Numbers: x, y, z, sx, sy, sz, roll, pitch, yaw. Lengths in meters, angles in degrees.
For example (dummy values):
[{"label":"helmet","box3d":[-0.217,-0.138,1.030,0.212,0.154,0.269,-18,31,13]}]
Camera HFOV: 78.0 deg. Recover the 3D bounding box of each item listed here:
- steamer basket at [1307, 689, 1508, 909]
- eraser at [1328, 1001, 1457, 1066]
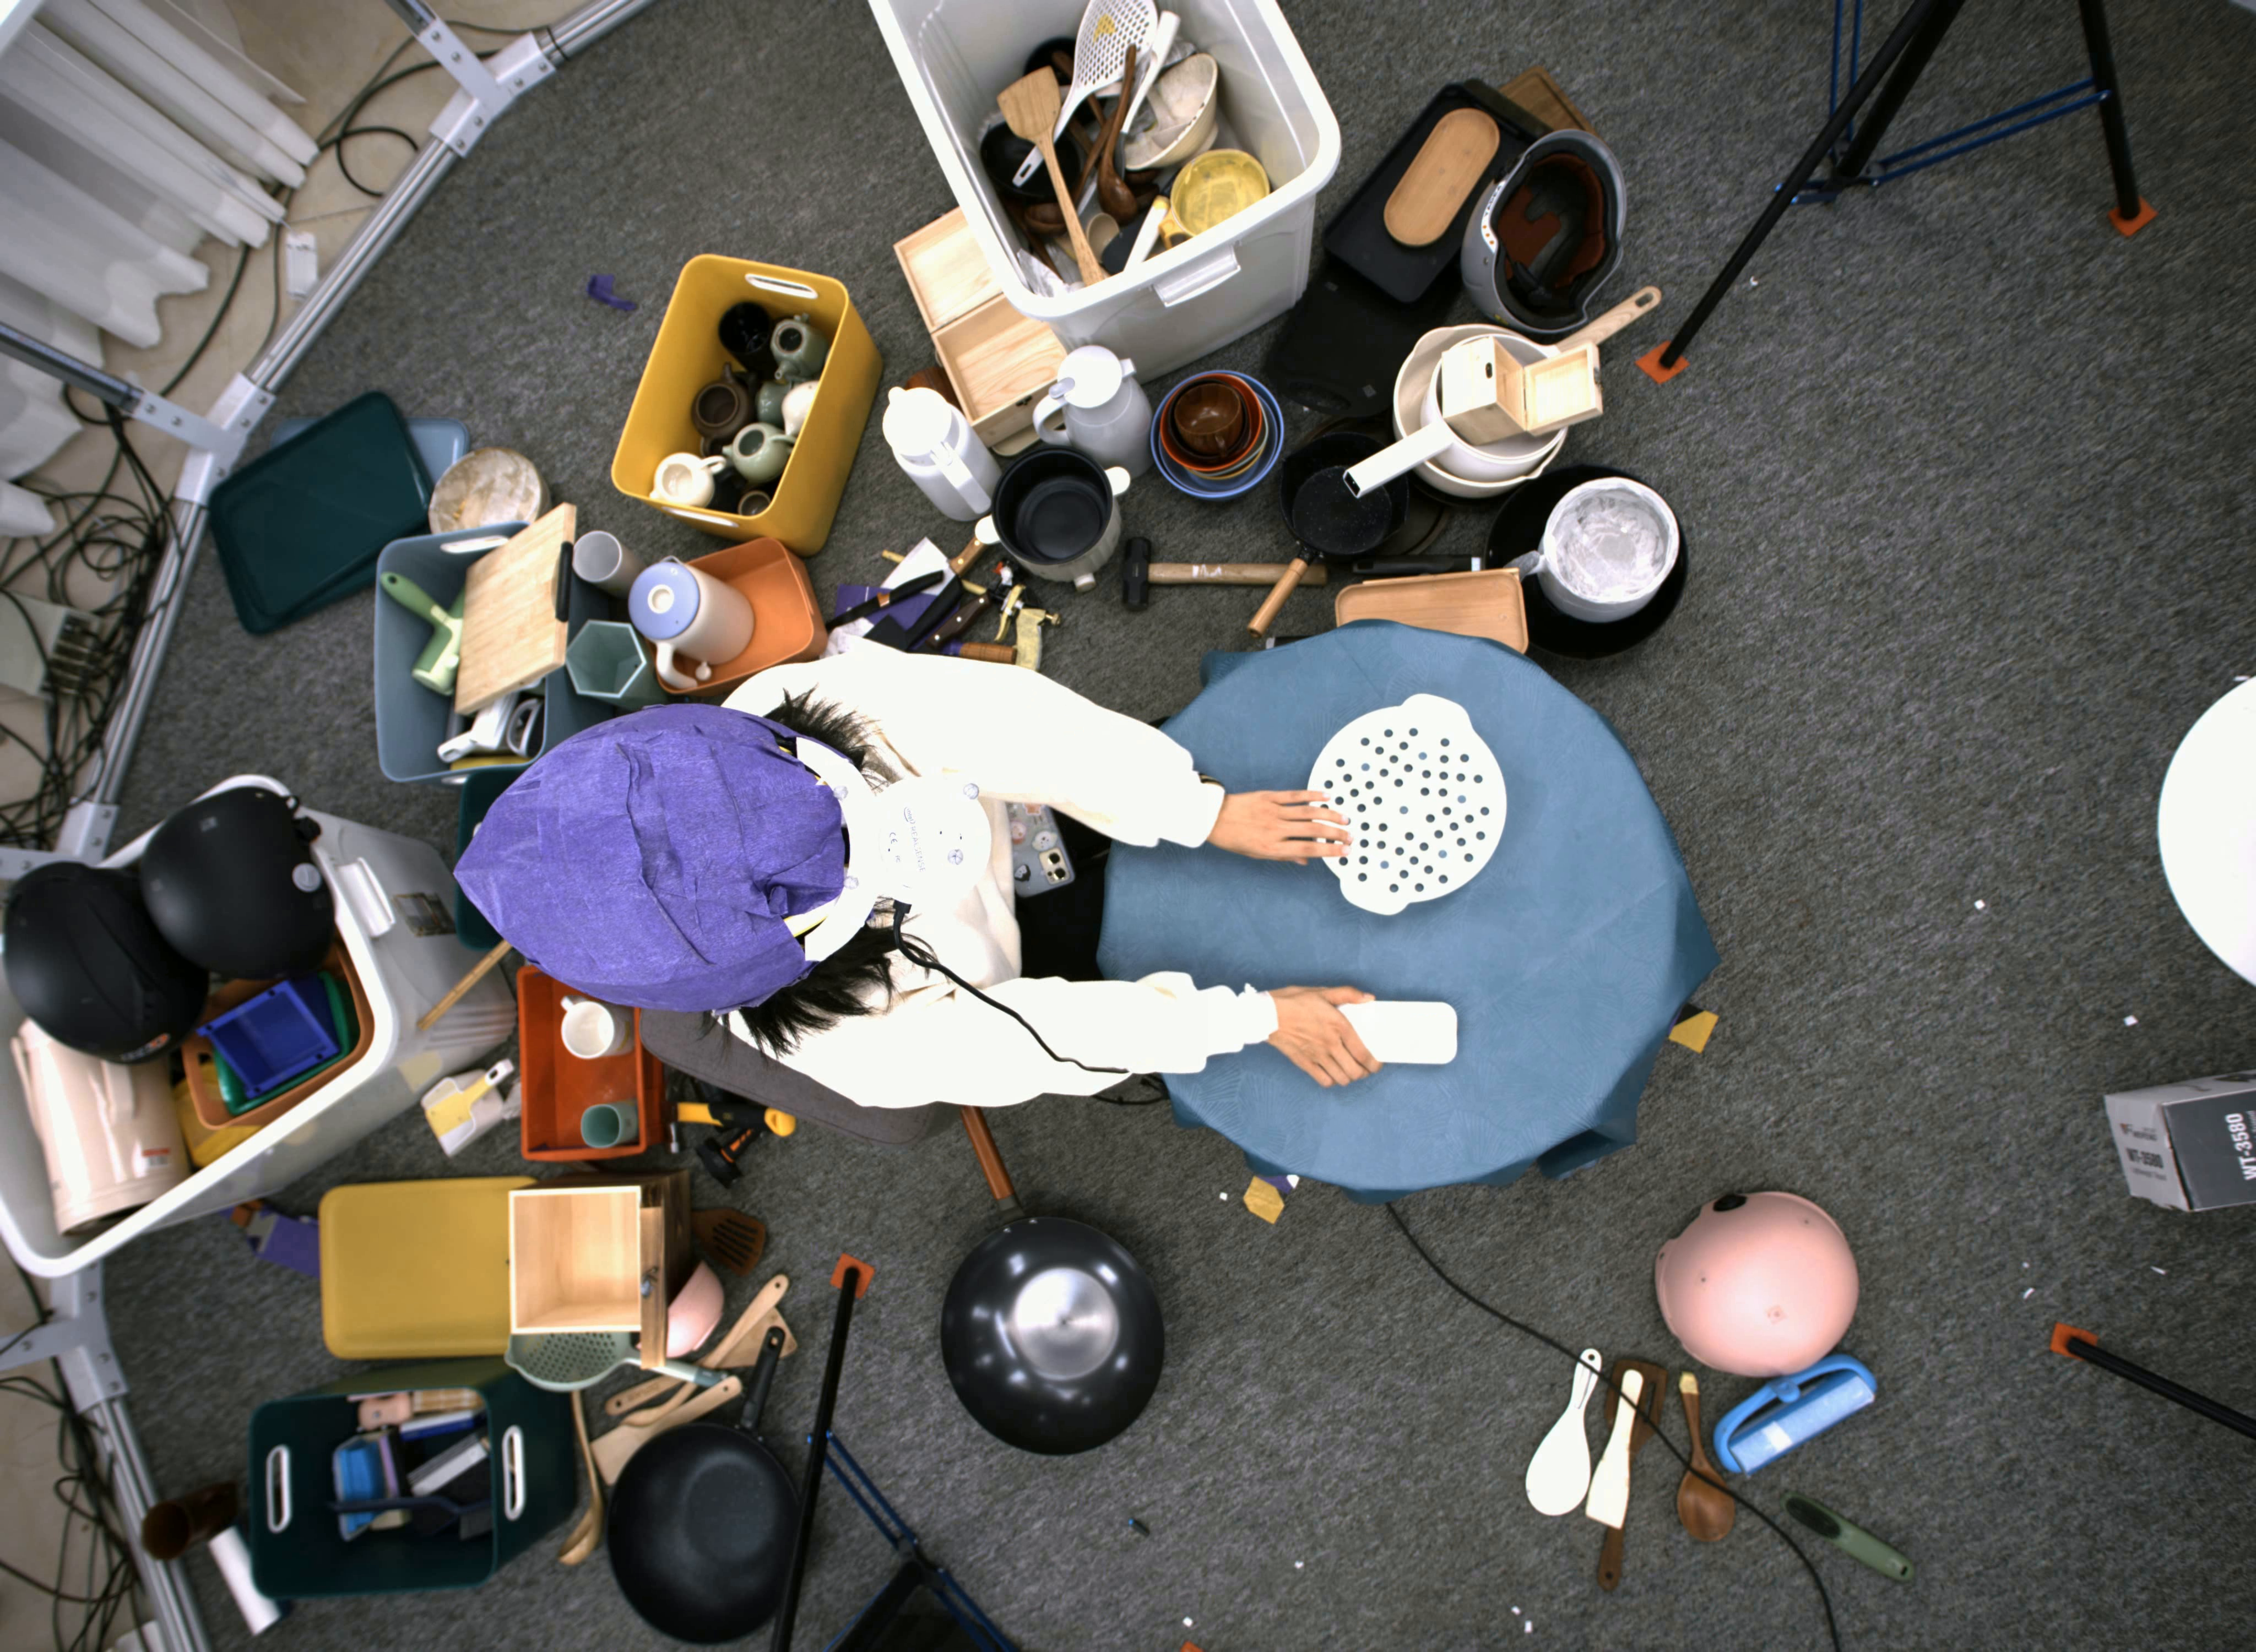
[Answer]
[{"label":"steamer basket","box3d":[0.288,-0.026,1.429,0.202,0.069,0.230,19,89,11]},{"label":"eraser","box3d":[0.274,0.212,1.436,0.132,0.034,0.063,2,87,10]}]
